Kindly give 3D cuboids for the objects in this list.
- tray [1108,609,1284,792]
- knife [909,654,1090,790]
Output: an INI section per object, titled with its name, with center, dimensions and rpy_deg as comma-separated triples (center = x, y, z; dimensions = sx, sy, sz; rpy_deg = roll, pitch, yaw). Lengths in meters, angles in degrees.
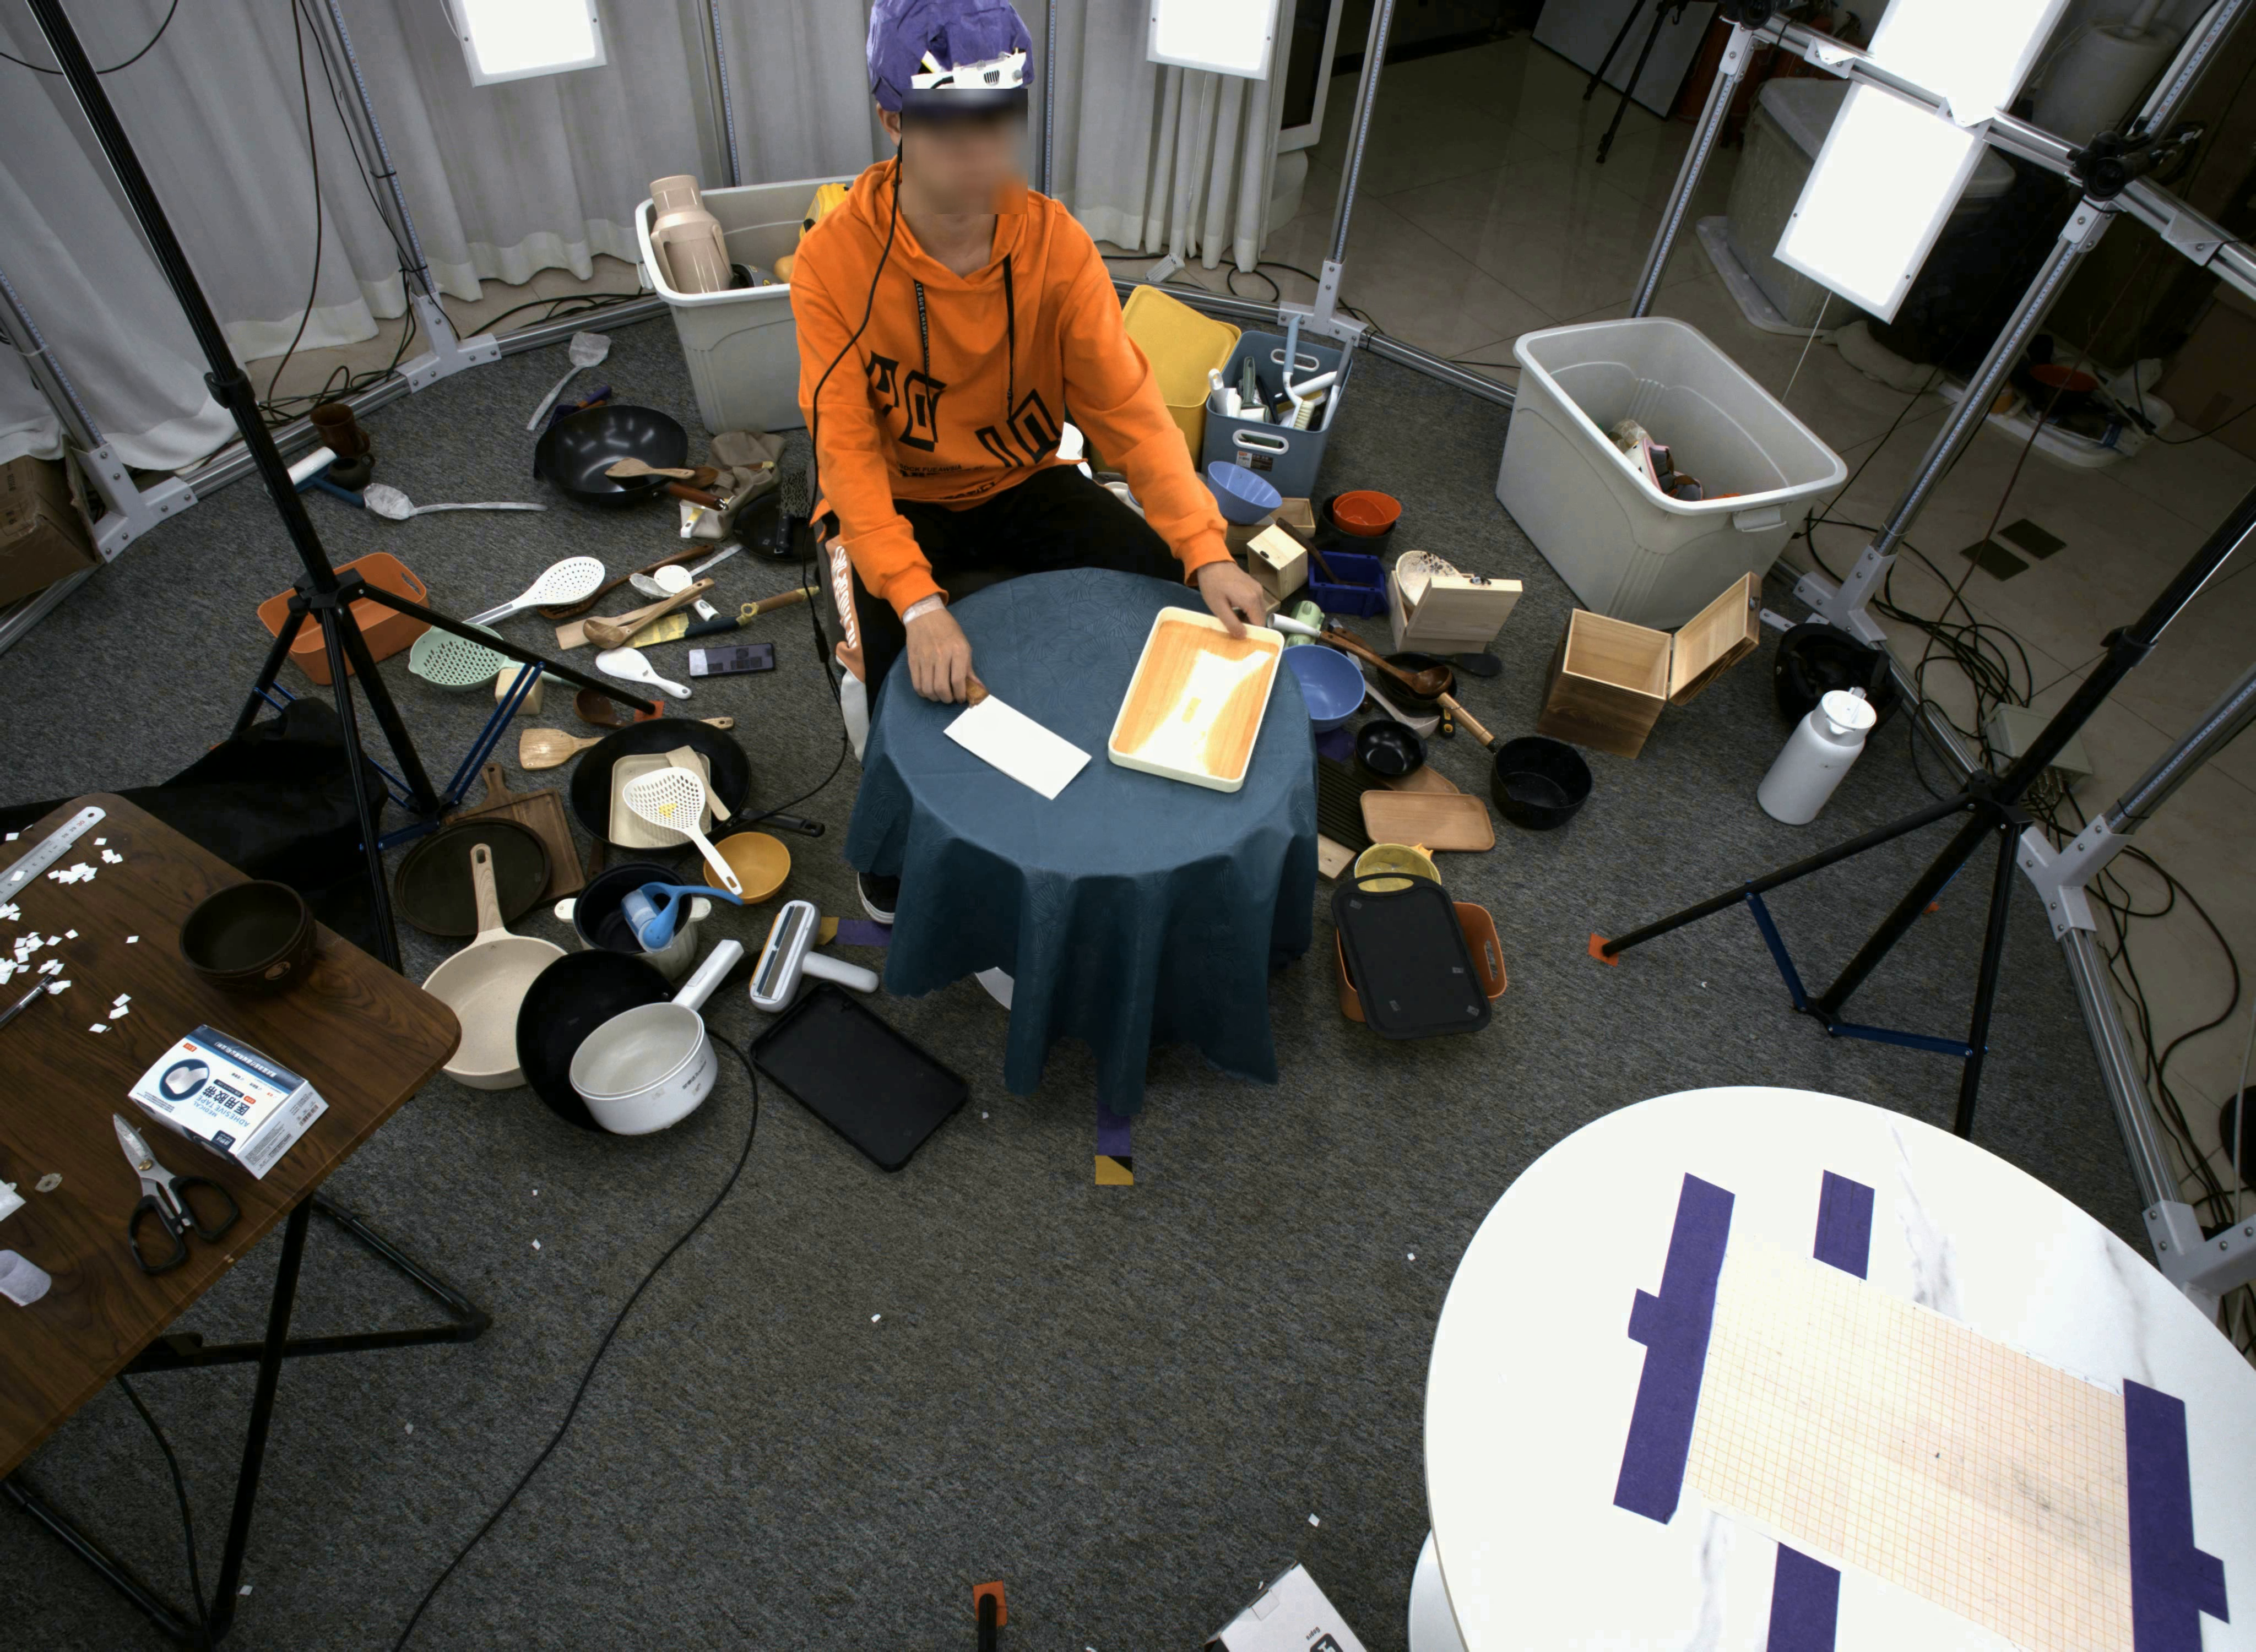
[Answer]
[tray]
center = 0.100, -0.183, 1.810
dimensions = 0.192, 0.027, 0.307
rpy_deg = 14, 52, 8
[knife]
center = -0.195, -0.141, 1.766
dimensions = 0.309, 0.020, 0.094
rpy_deg = 32, 60, 20
